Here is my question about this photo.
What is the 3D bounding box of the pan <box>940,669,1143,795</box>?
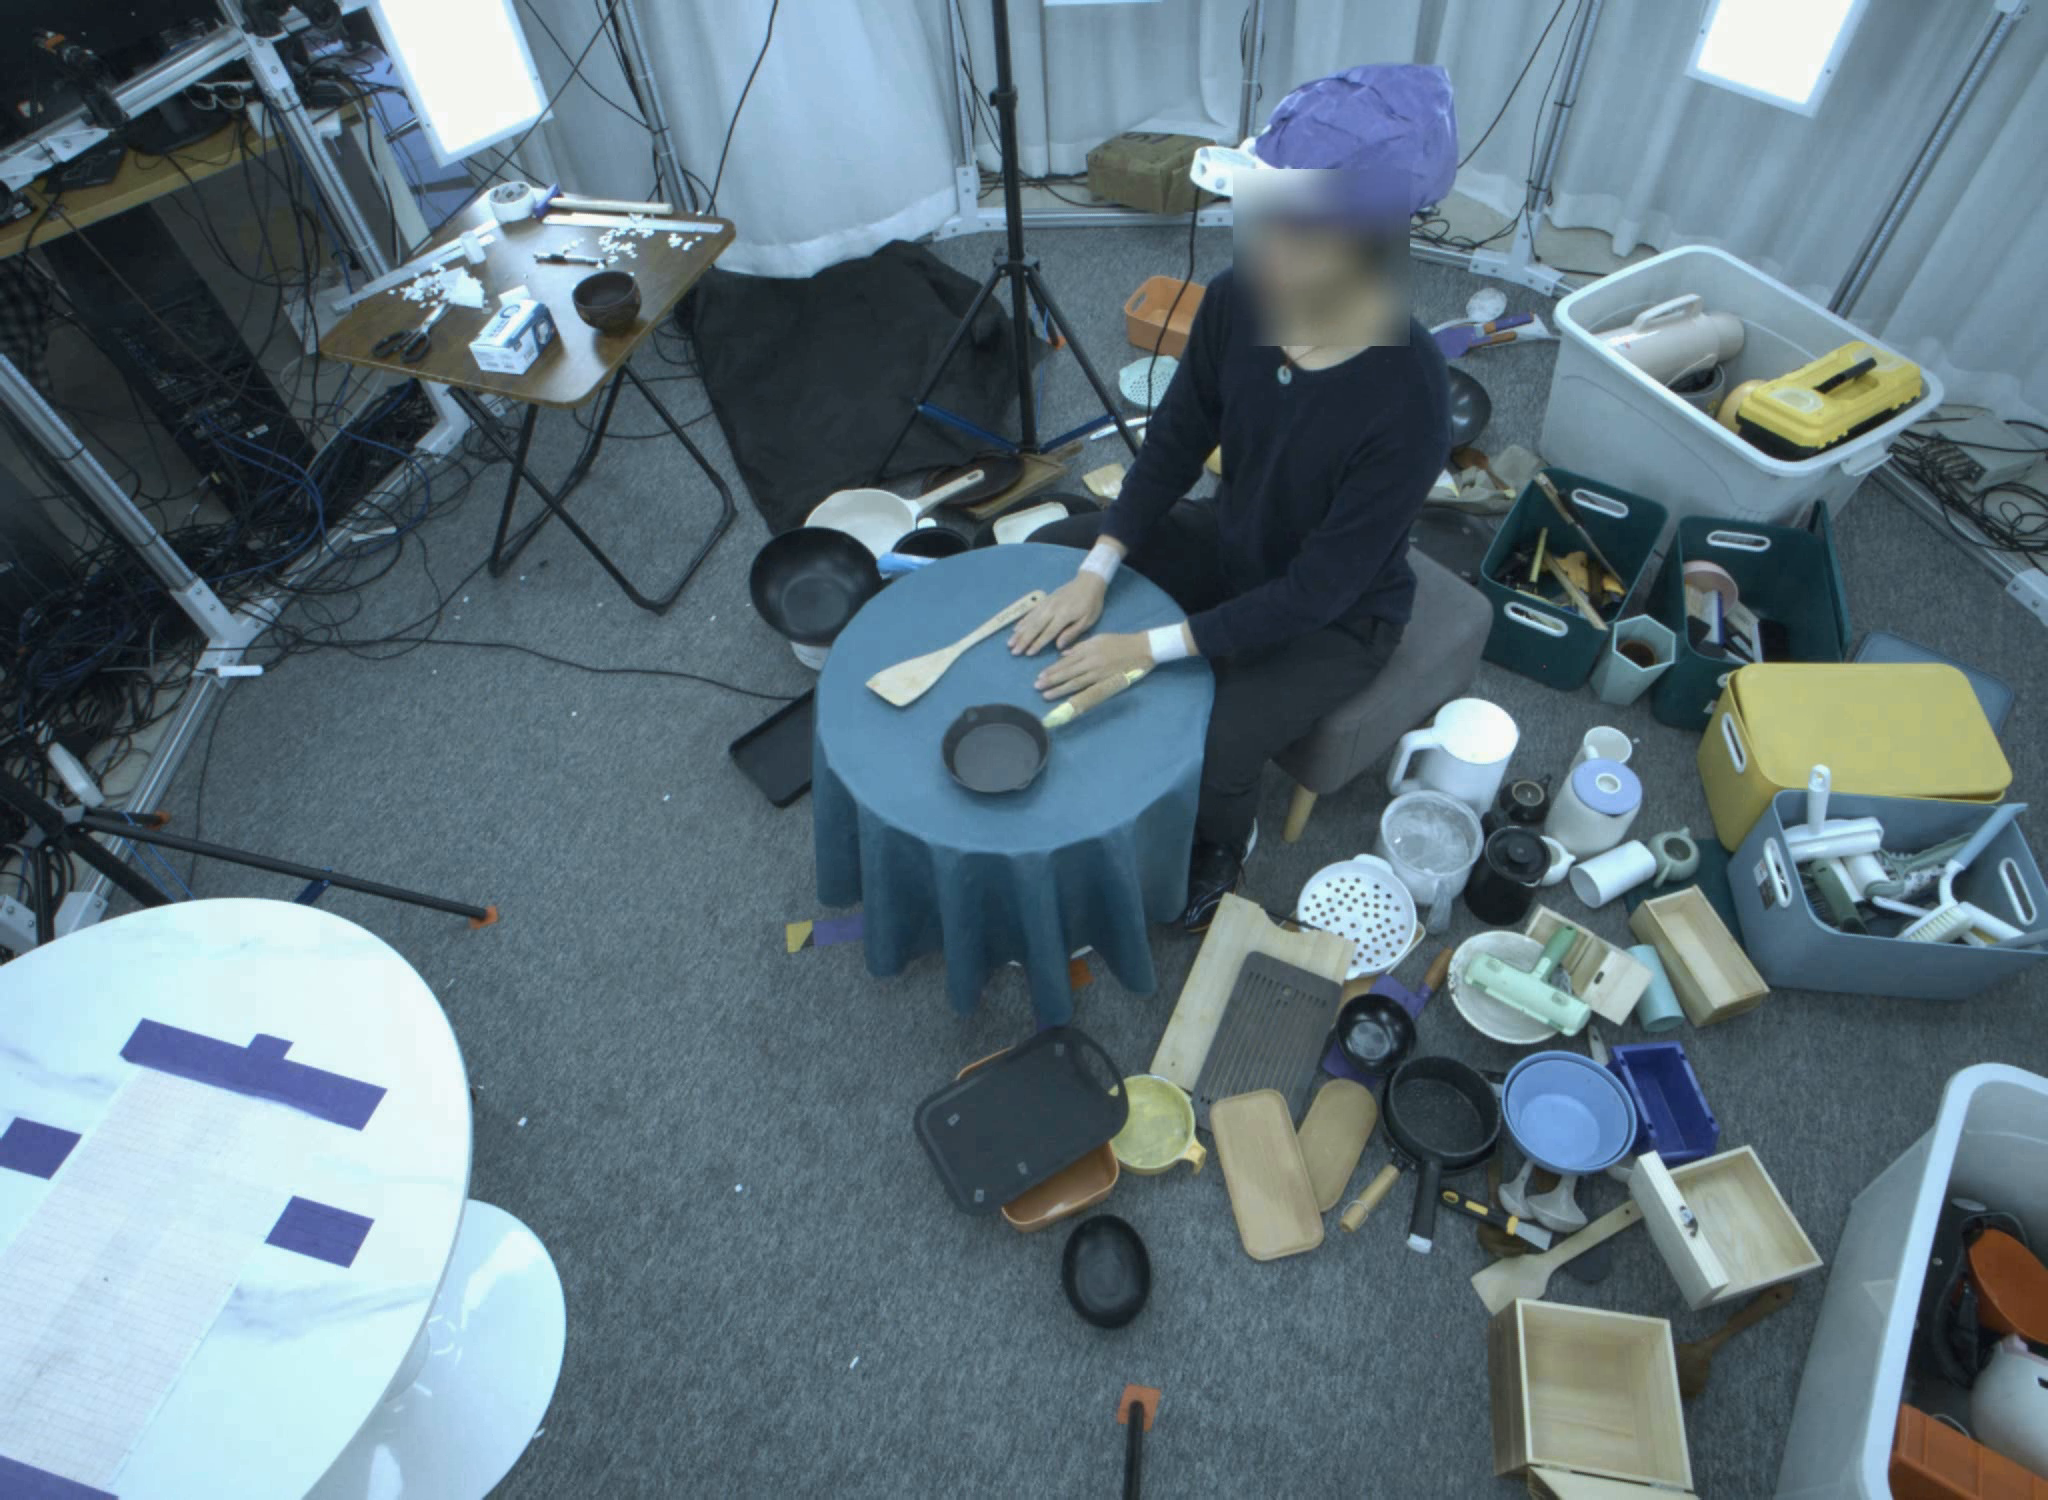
[{"bbox_3d":[0.033,-0.037,1.781,0.326,0.050,0.166,-26,58,-14],"label":"pan"}]

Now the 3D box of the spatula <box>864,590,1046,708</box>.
[{"bbox_3d":[-0.095,-0.164,1.897,0.330,0.017,0.078,-35,62,-20],"label":"spatula"}]
